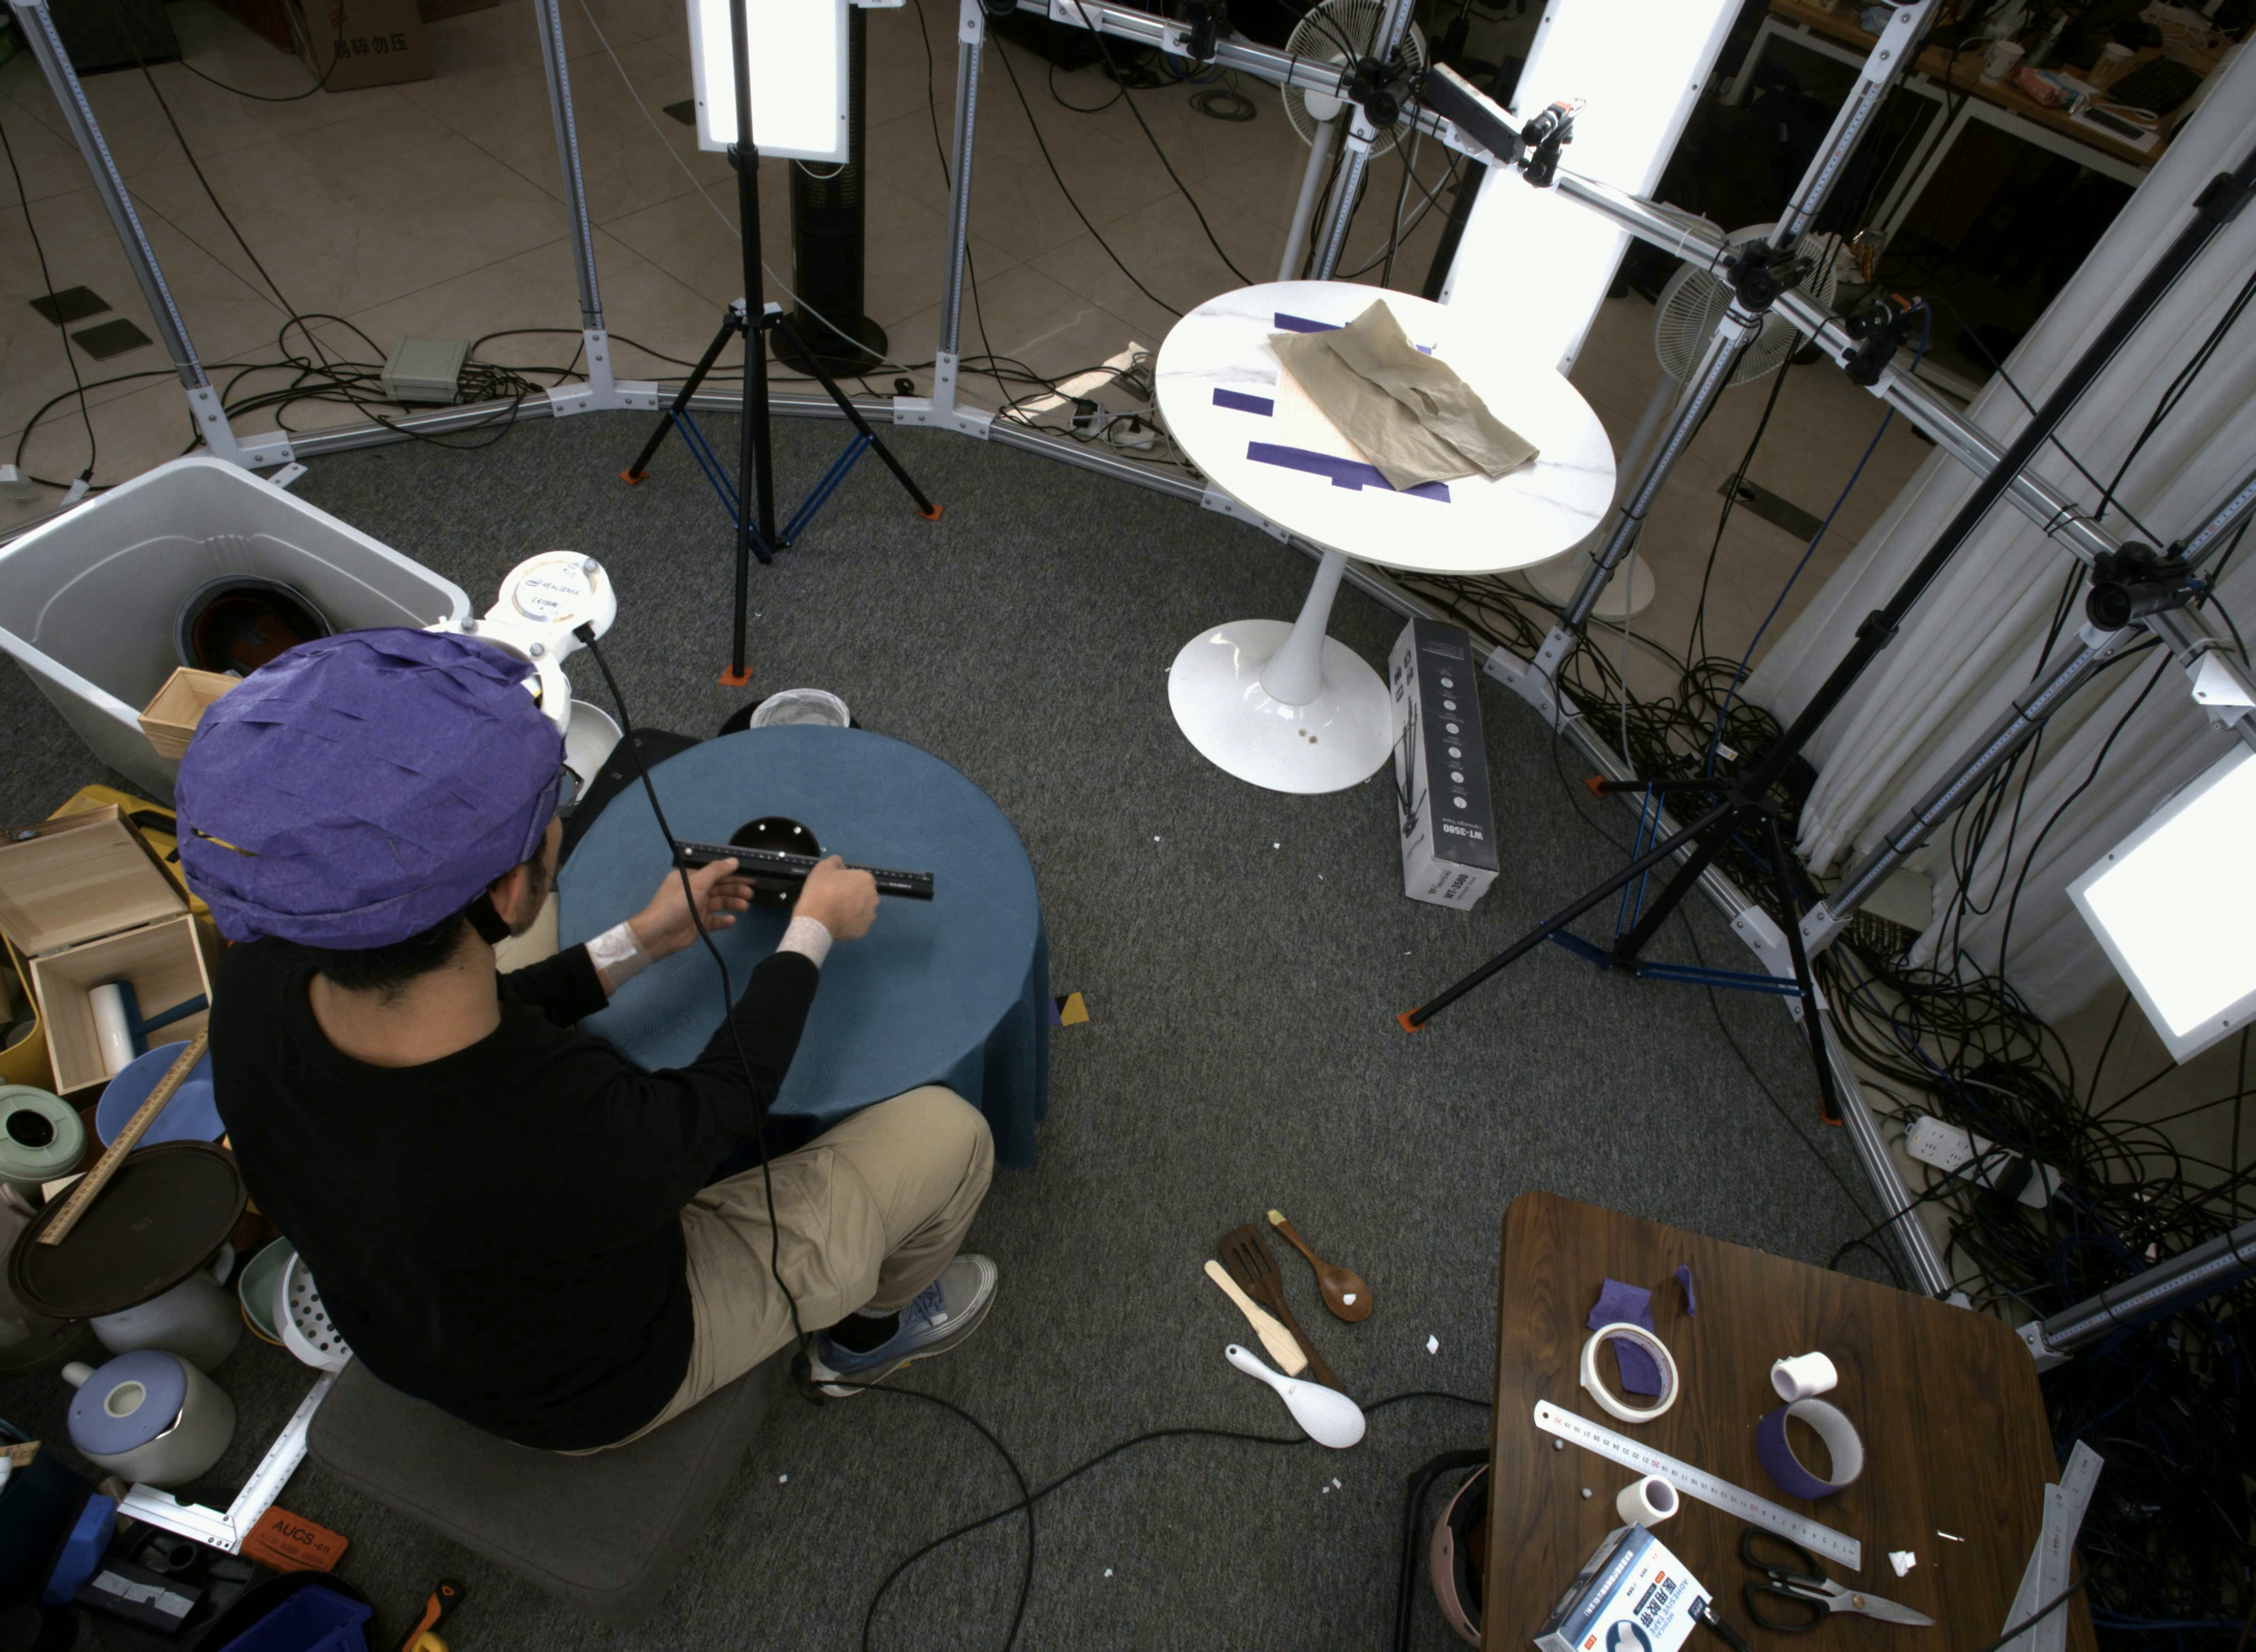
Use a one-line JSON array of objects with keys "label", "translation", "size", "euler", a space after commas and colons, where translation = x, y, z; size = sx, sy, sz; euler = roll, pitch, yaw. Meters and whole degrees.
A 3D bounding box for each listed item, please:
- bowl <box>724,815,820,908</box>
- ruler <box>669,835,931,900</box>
[{"label": "bowl", "translation": [-0.447, 0.051, 1.627], "size": [0.118, 0.071, 0.116], "euler": [8, 51, -8]}, {"label": "ruler", "translation": [-0.389, 0.046, 1.557], "size": [0.315, 0.017, 0.039], "euler": [10, 60, -19]}]
